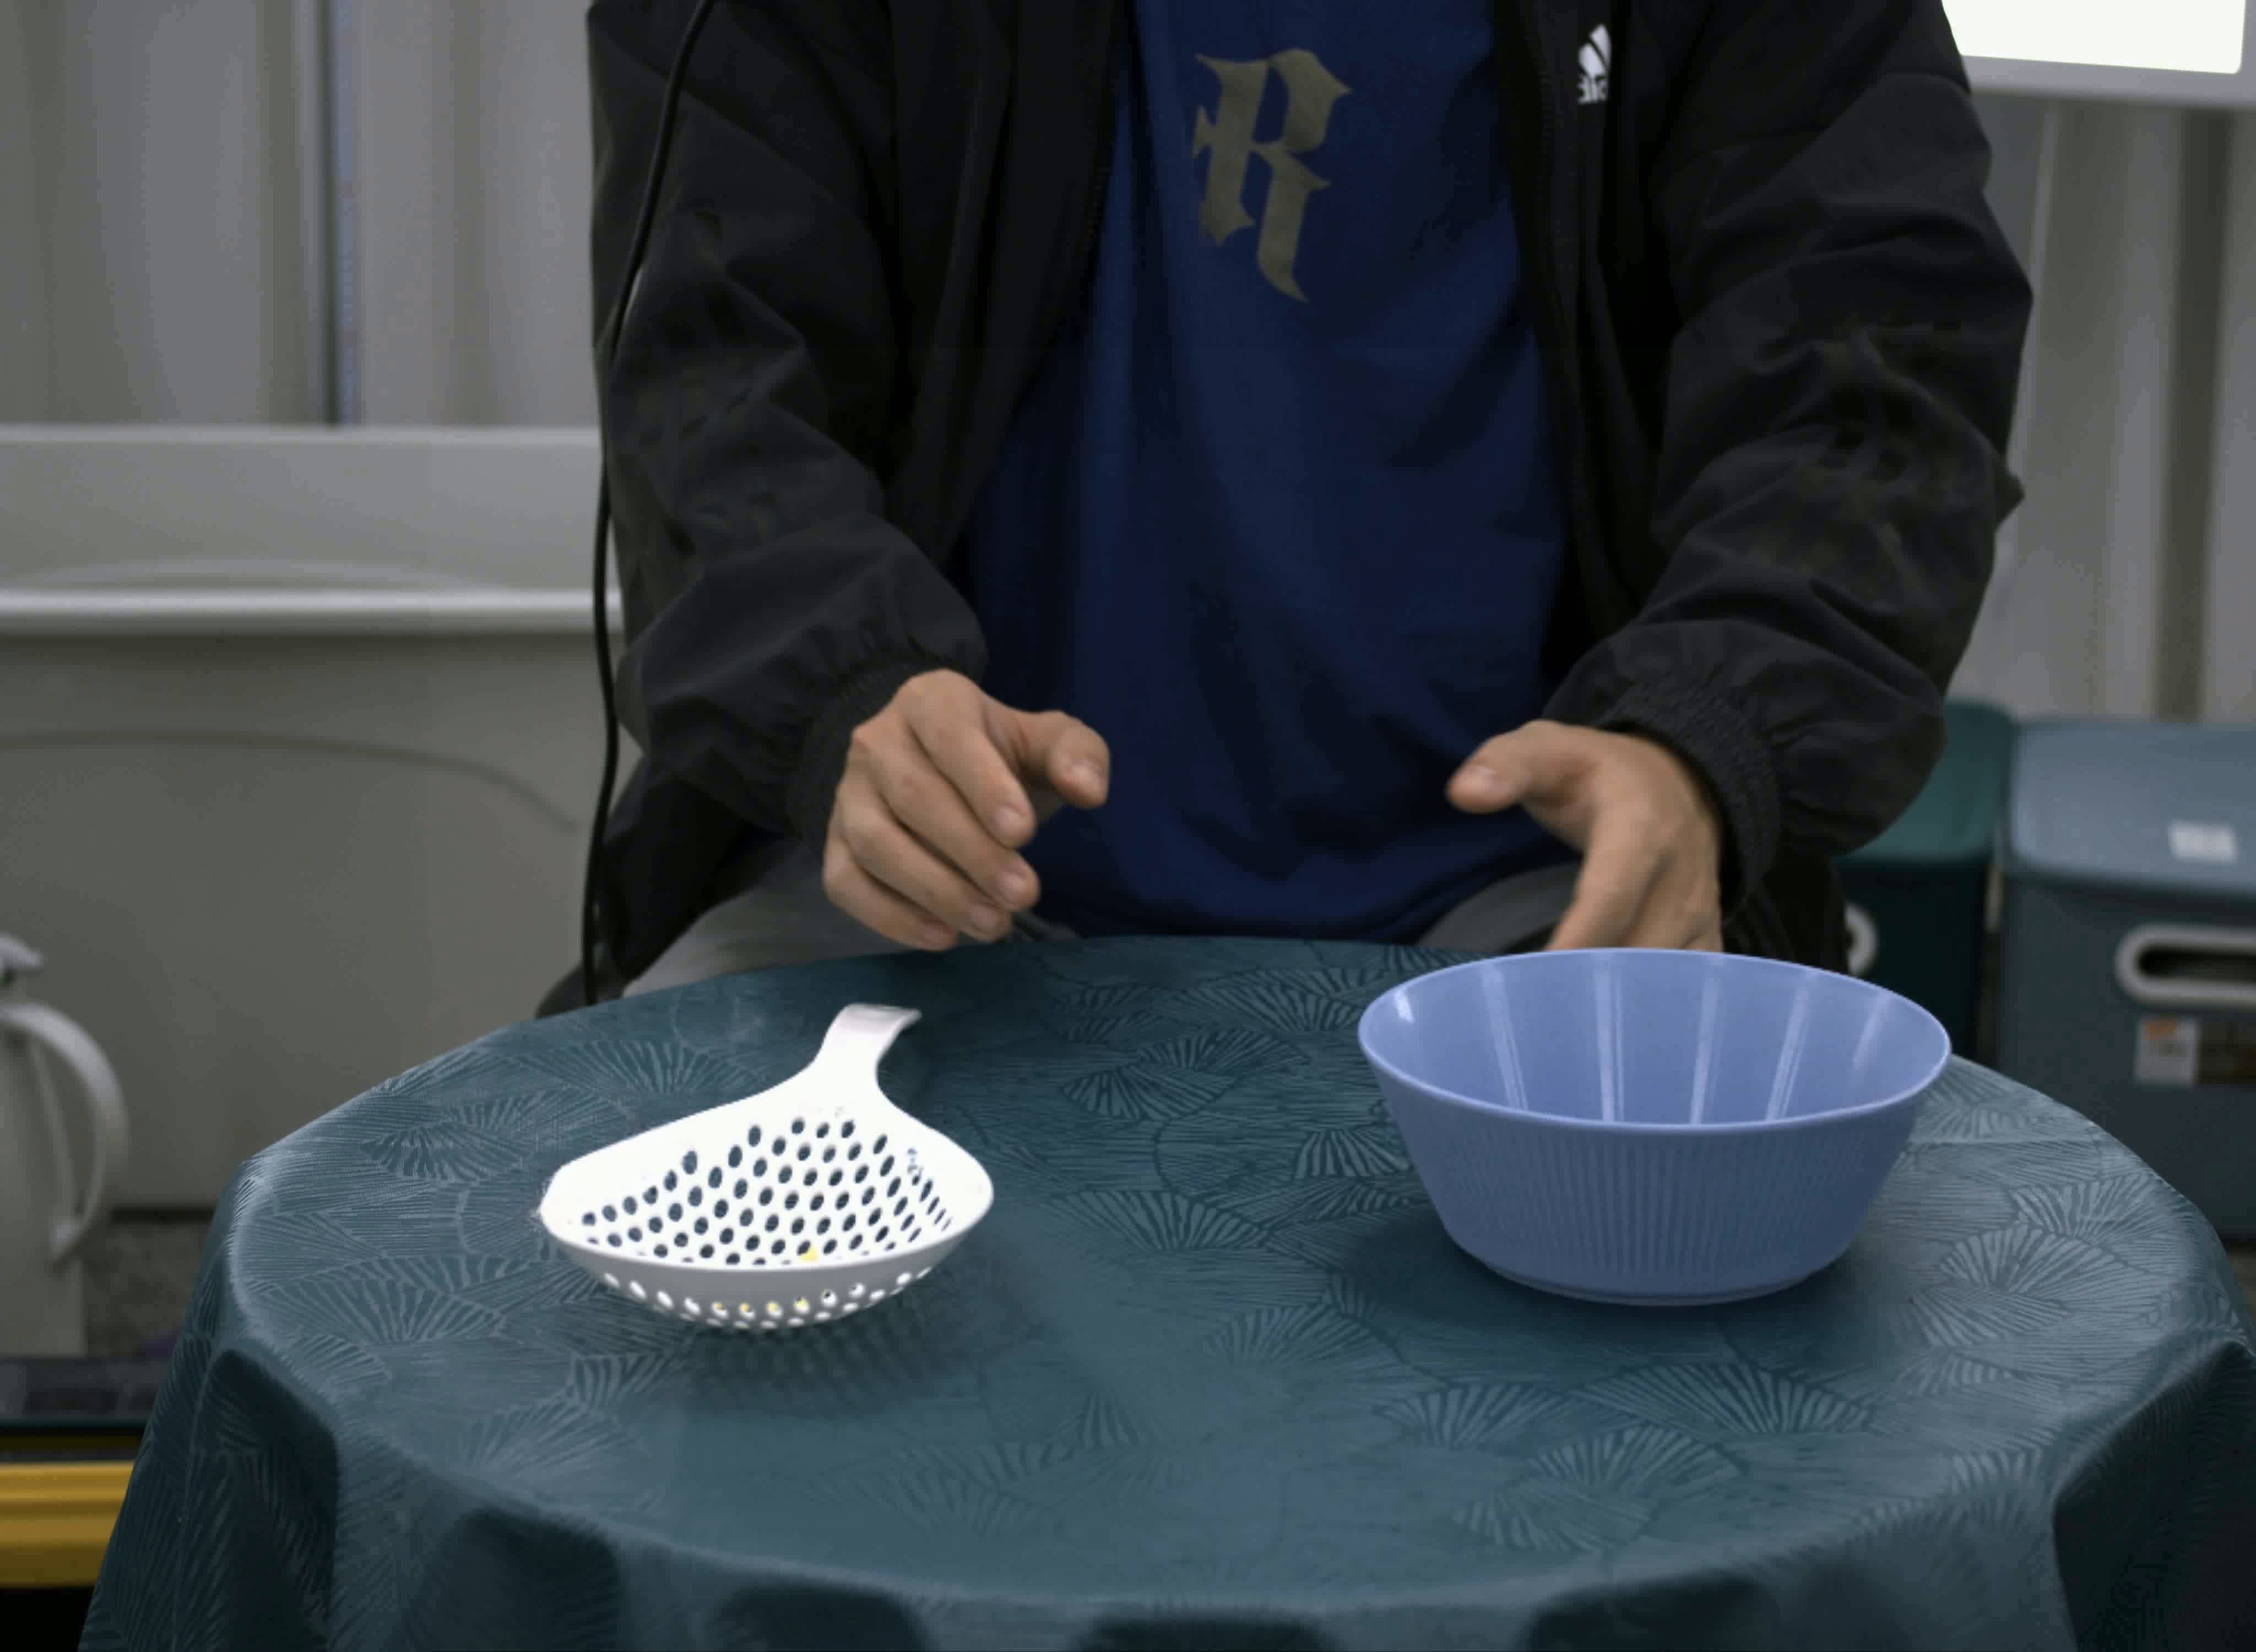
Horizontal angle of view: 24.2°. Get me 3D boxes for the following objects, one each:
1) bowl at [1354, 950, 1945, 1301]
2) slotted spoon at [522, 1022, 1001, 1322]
[{"bbox_3d":[0.154,0.091,1.572,0.175,0.071,0.175,1,15,0],"label":"bowl"},{"bbox_3d":[-0.094,0.092,1.614,0.136,0.051,0.346,-2,15,5],"label":"slotted spoon"}]
